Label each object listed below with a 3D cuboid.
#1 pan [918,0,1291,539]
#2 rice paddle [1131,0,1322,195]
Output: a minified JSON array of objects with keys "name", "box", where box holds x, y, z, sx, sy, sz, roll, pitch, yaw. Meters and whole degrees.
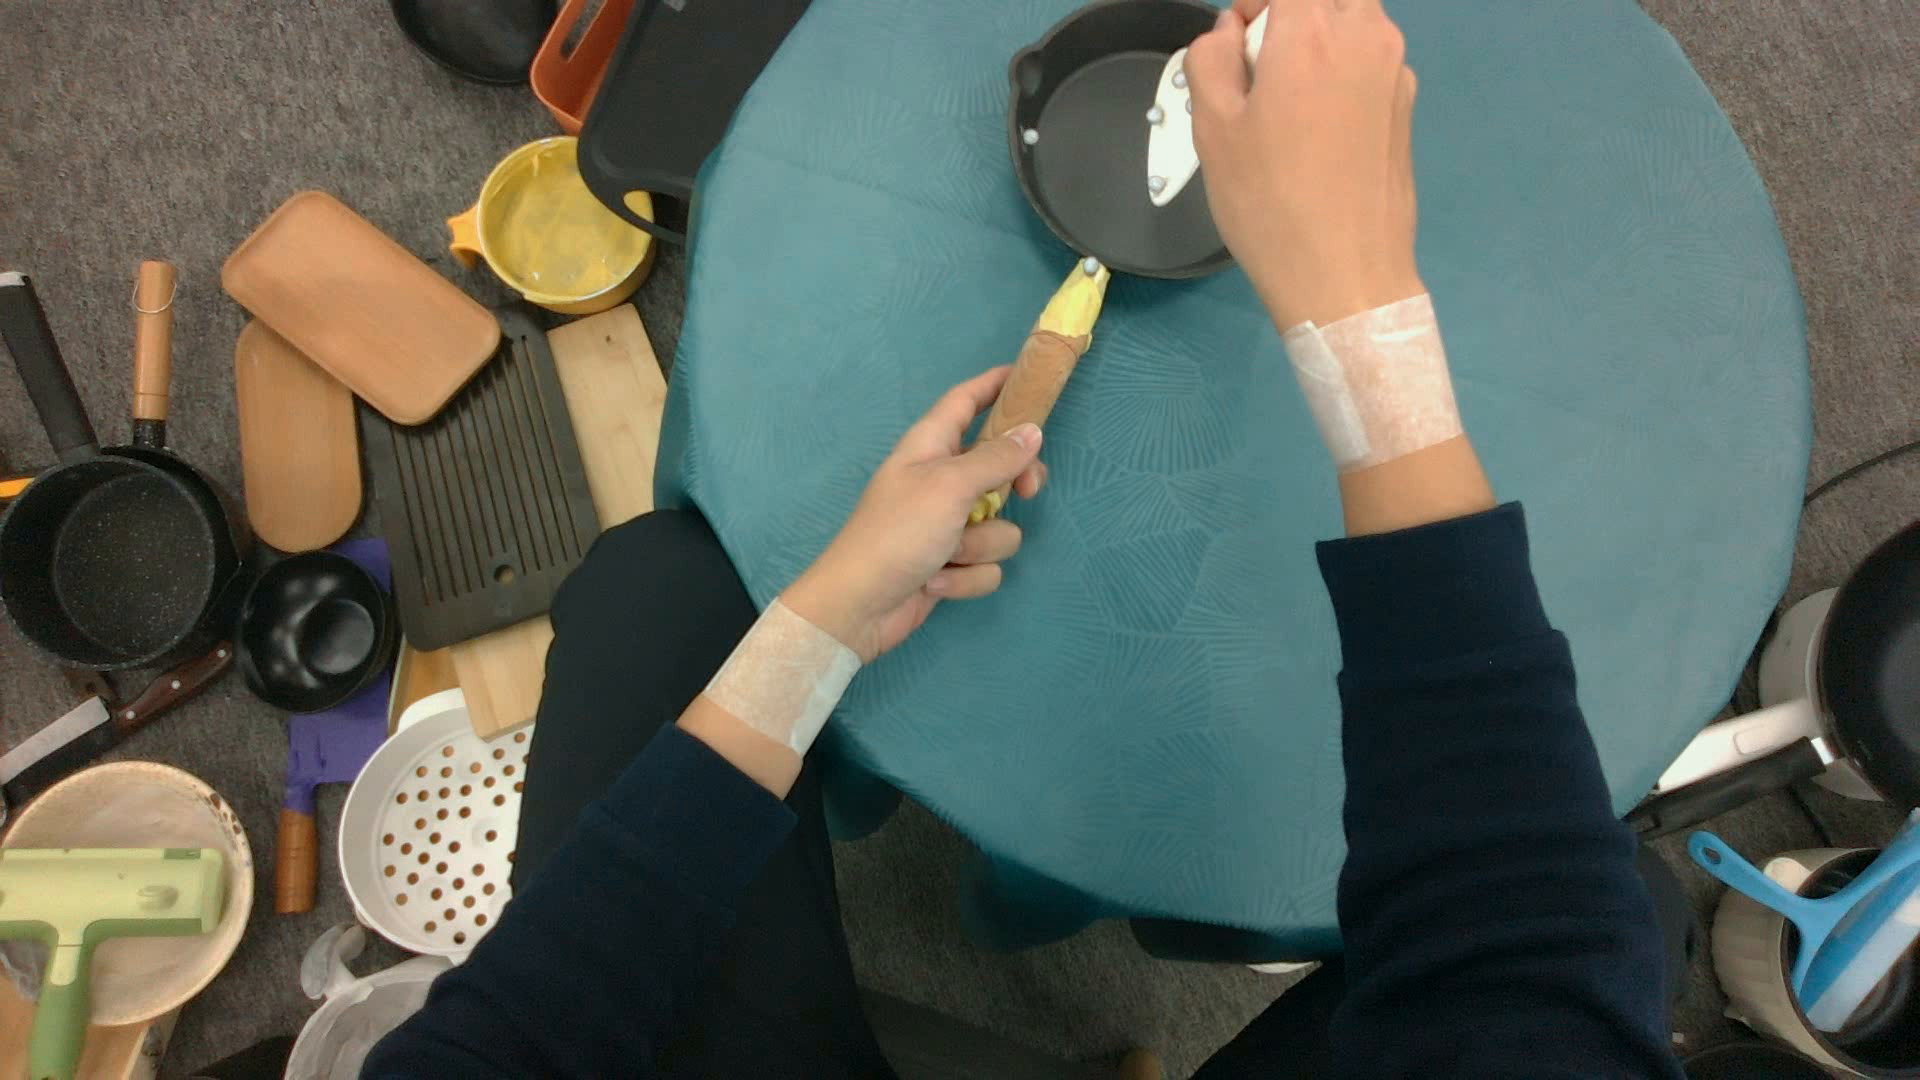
[{"name":"pan","box":[0.054,-0.142,0.689,0.169,0.049,0.325,28,75,0]},{"name":"rice paddle","box":[0.100,-0.195,0.594,0.029,0.205,0.069,4,93,-9]}]
